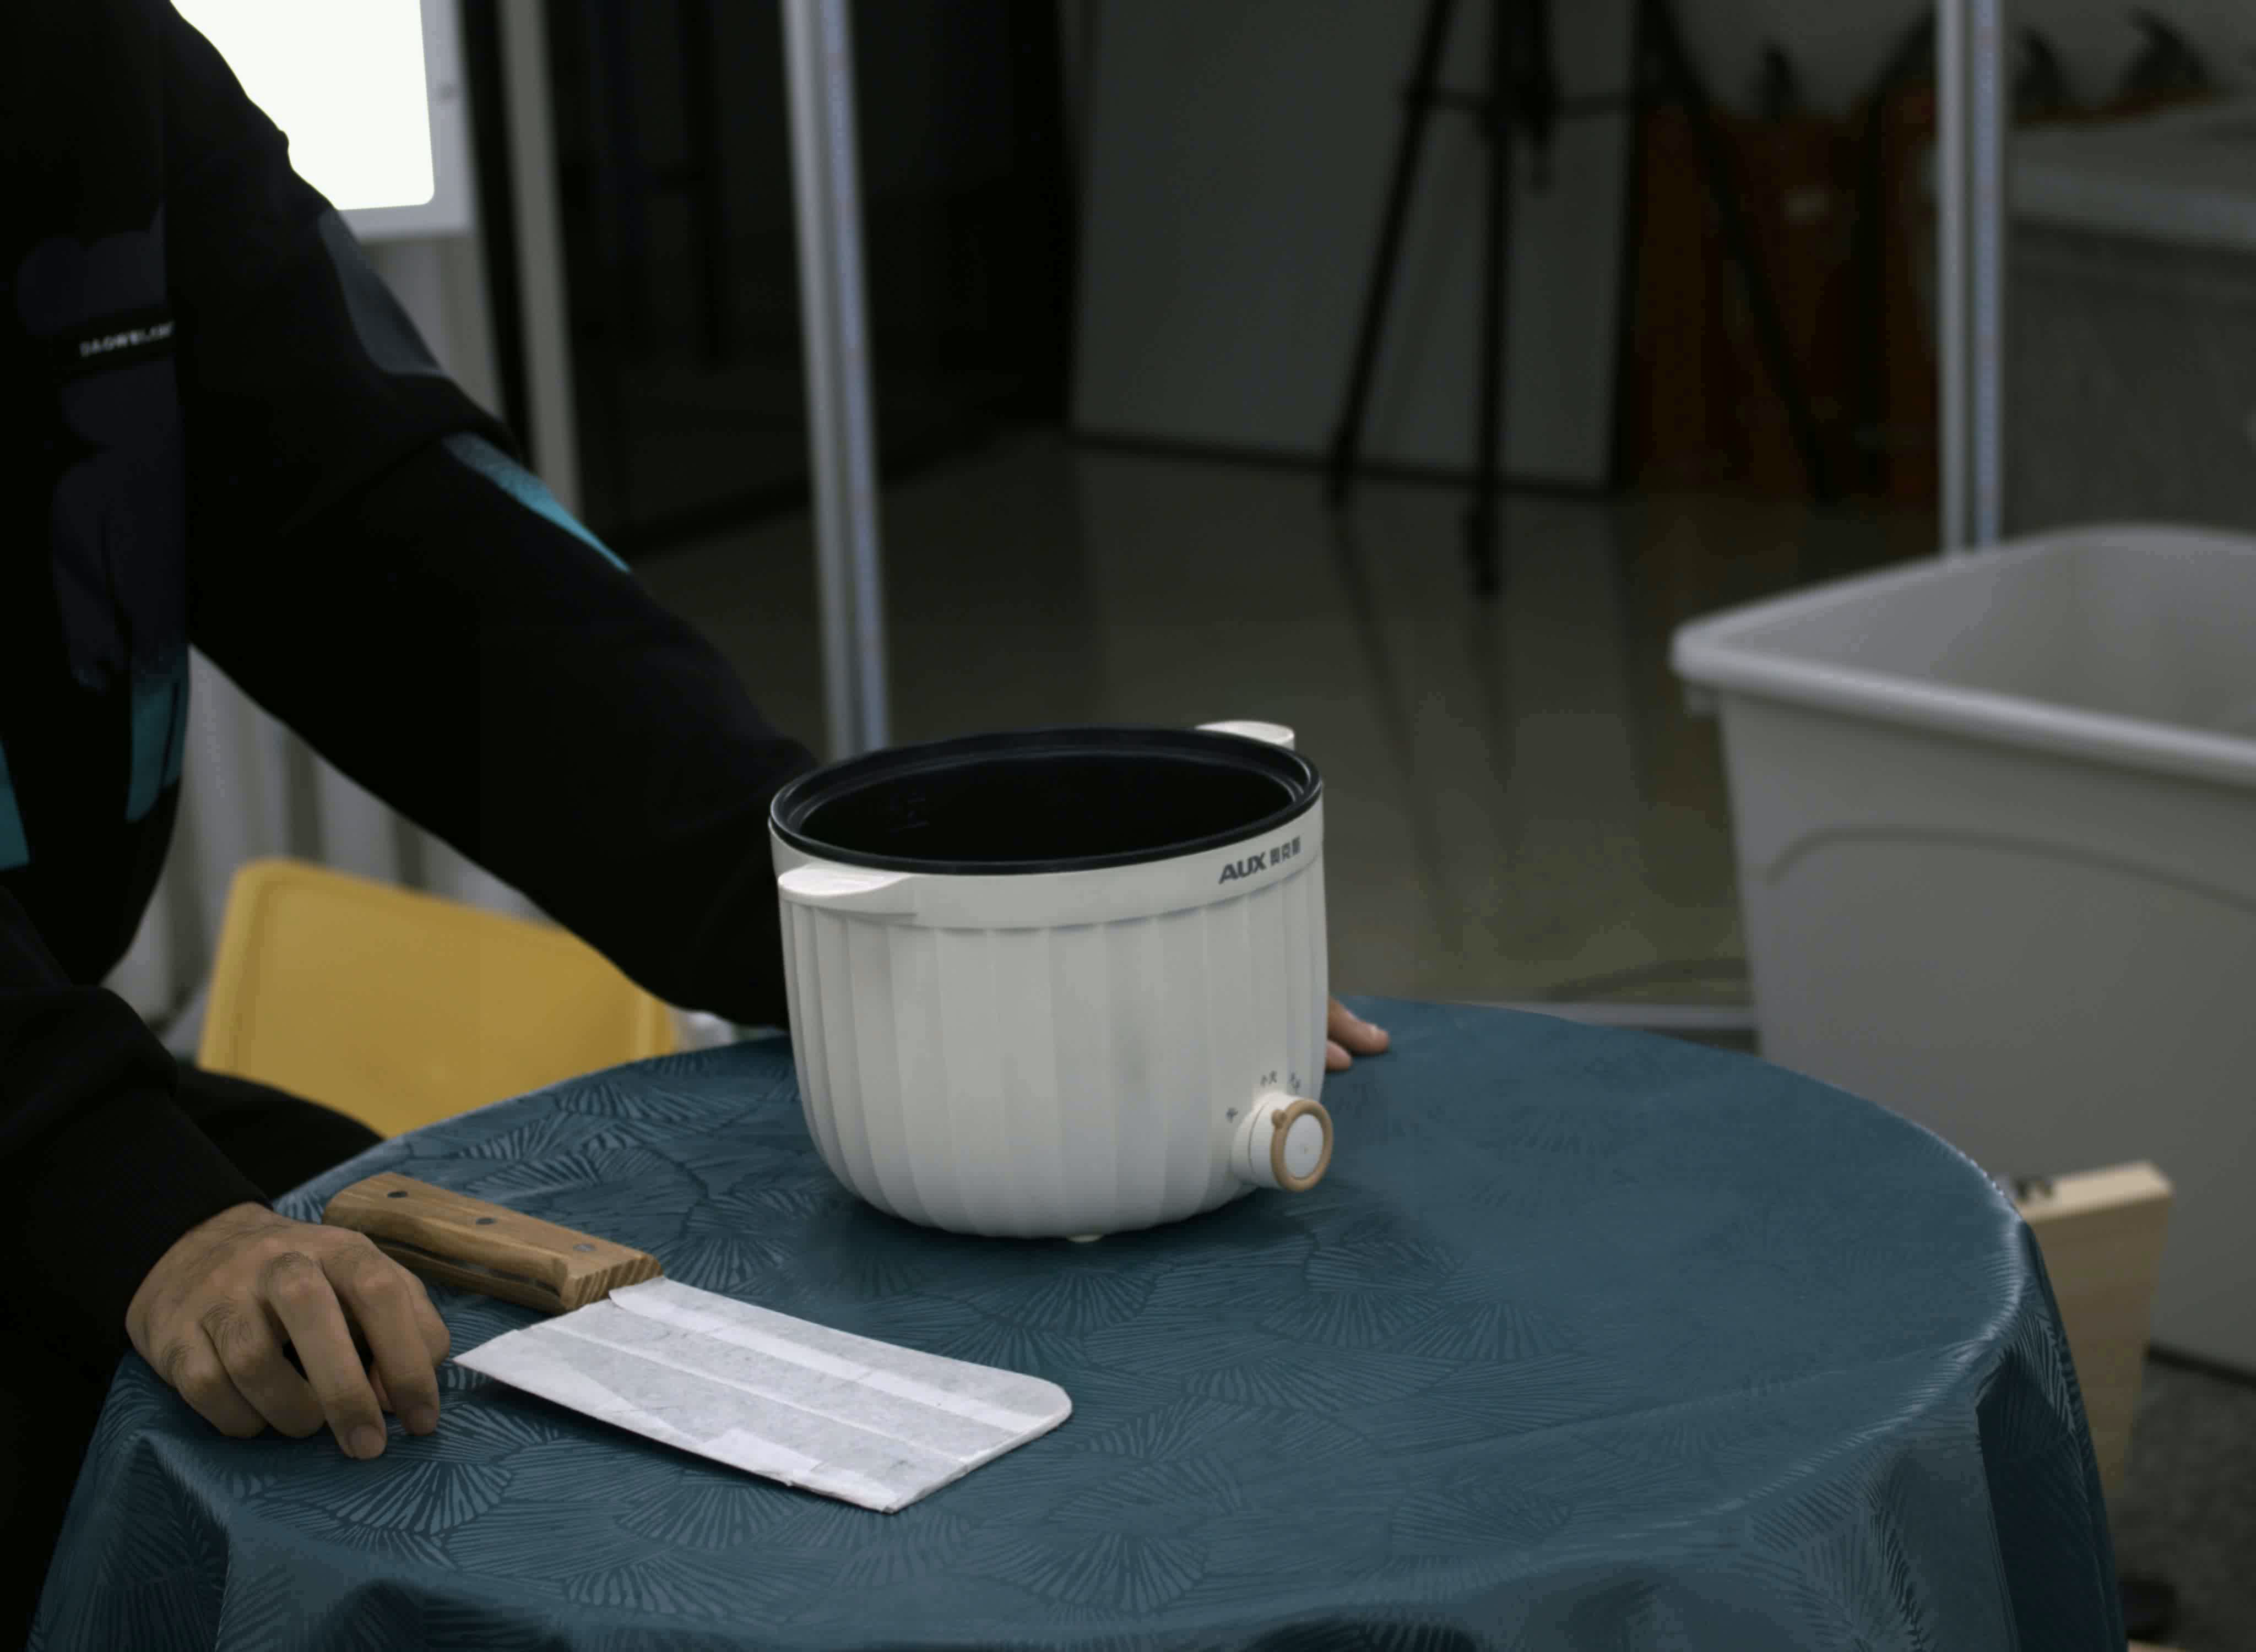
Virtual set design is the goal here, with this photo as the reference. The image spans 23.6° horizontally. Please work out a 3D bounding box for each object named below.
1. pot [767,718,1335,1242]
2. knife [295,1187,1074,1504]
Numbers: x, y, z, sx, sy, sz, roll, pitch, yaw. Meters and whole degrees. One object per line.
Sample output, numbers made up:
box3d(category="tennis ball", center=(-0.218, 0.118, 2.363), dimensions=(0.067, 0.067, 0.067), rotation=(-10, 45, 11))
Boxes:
box3d(category="pot", center=(-0.018, 0.052, 1.763), dimensions=(0.192, 0.144, 0.236), rotation=(4, 16, 40))
box3d(category="knife", center=(-0.146, 0.155, 1.640), dimensions=(0.111, 0.022, 0.318), rotation=(-17, 21, -41))
